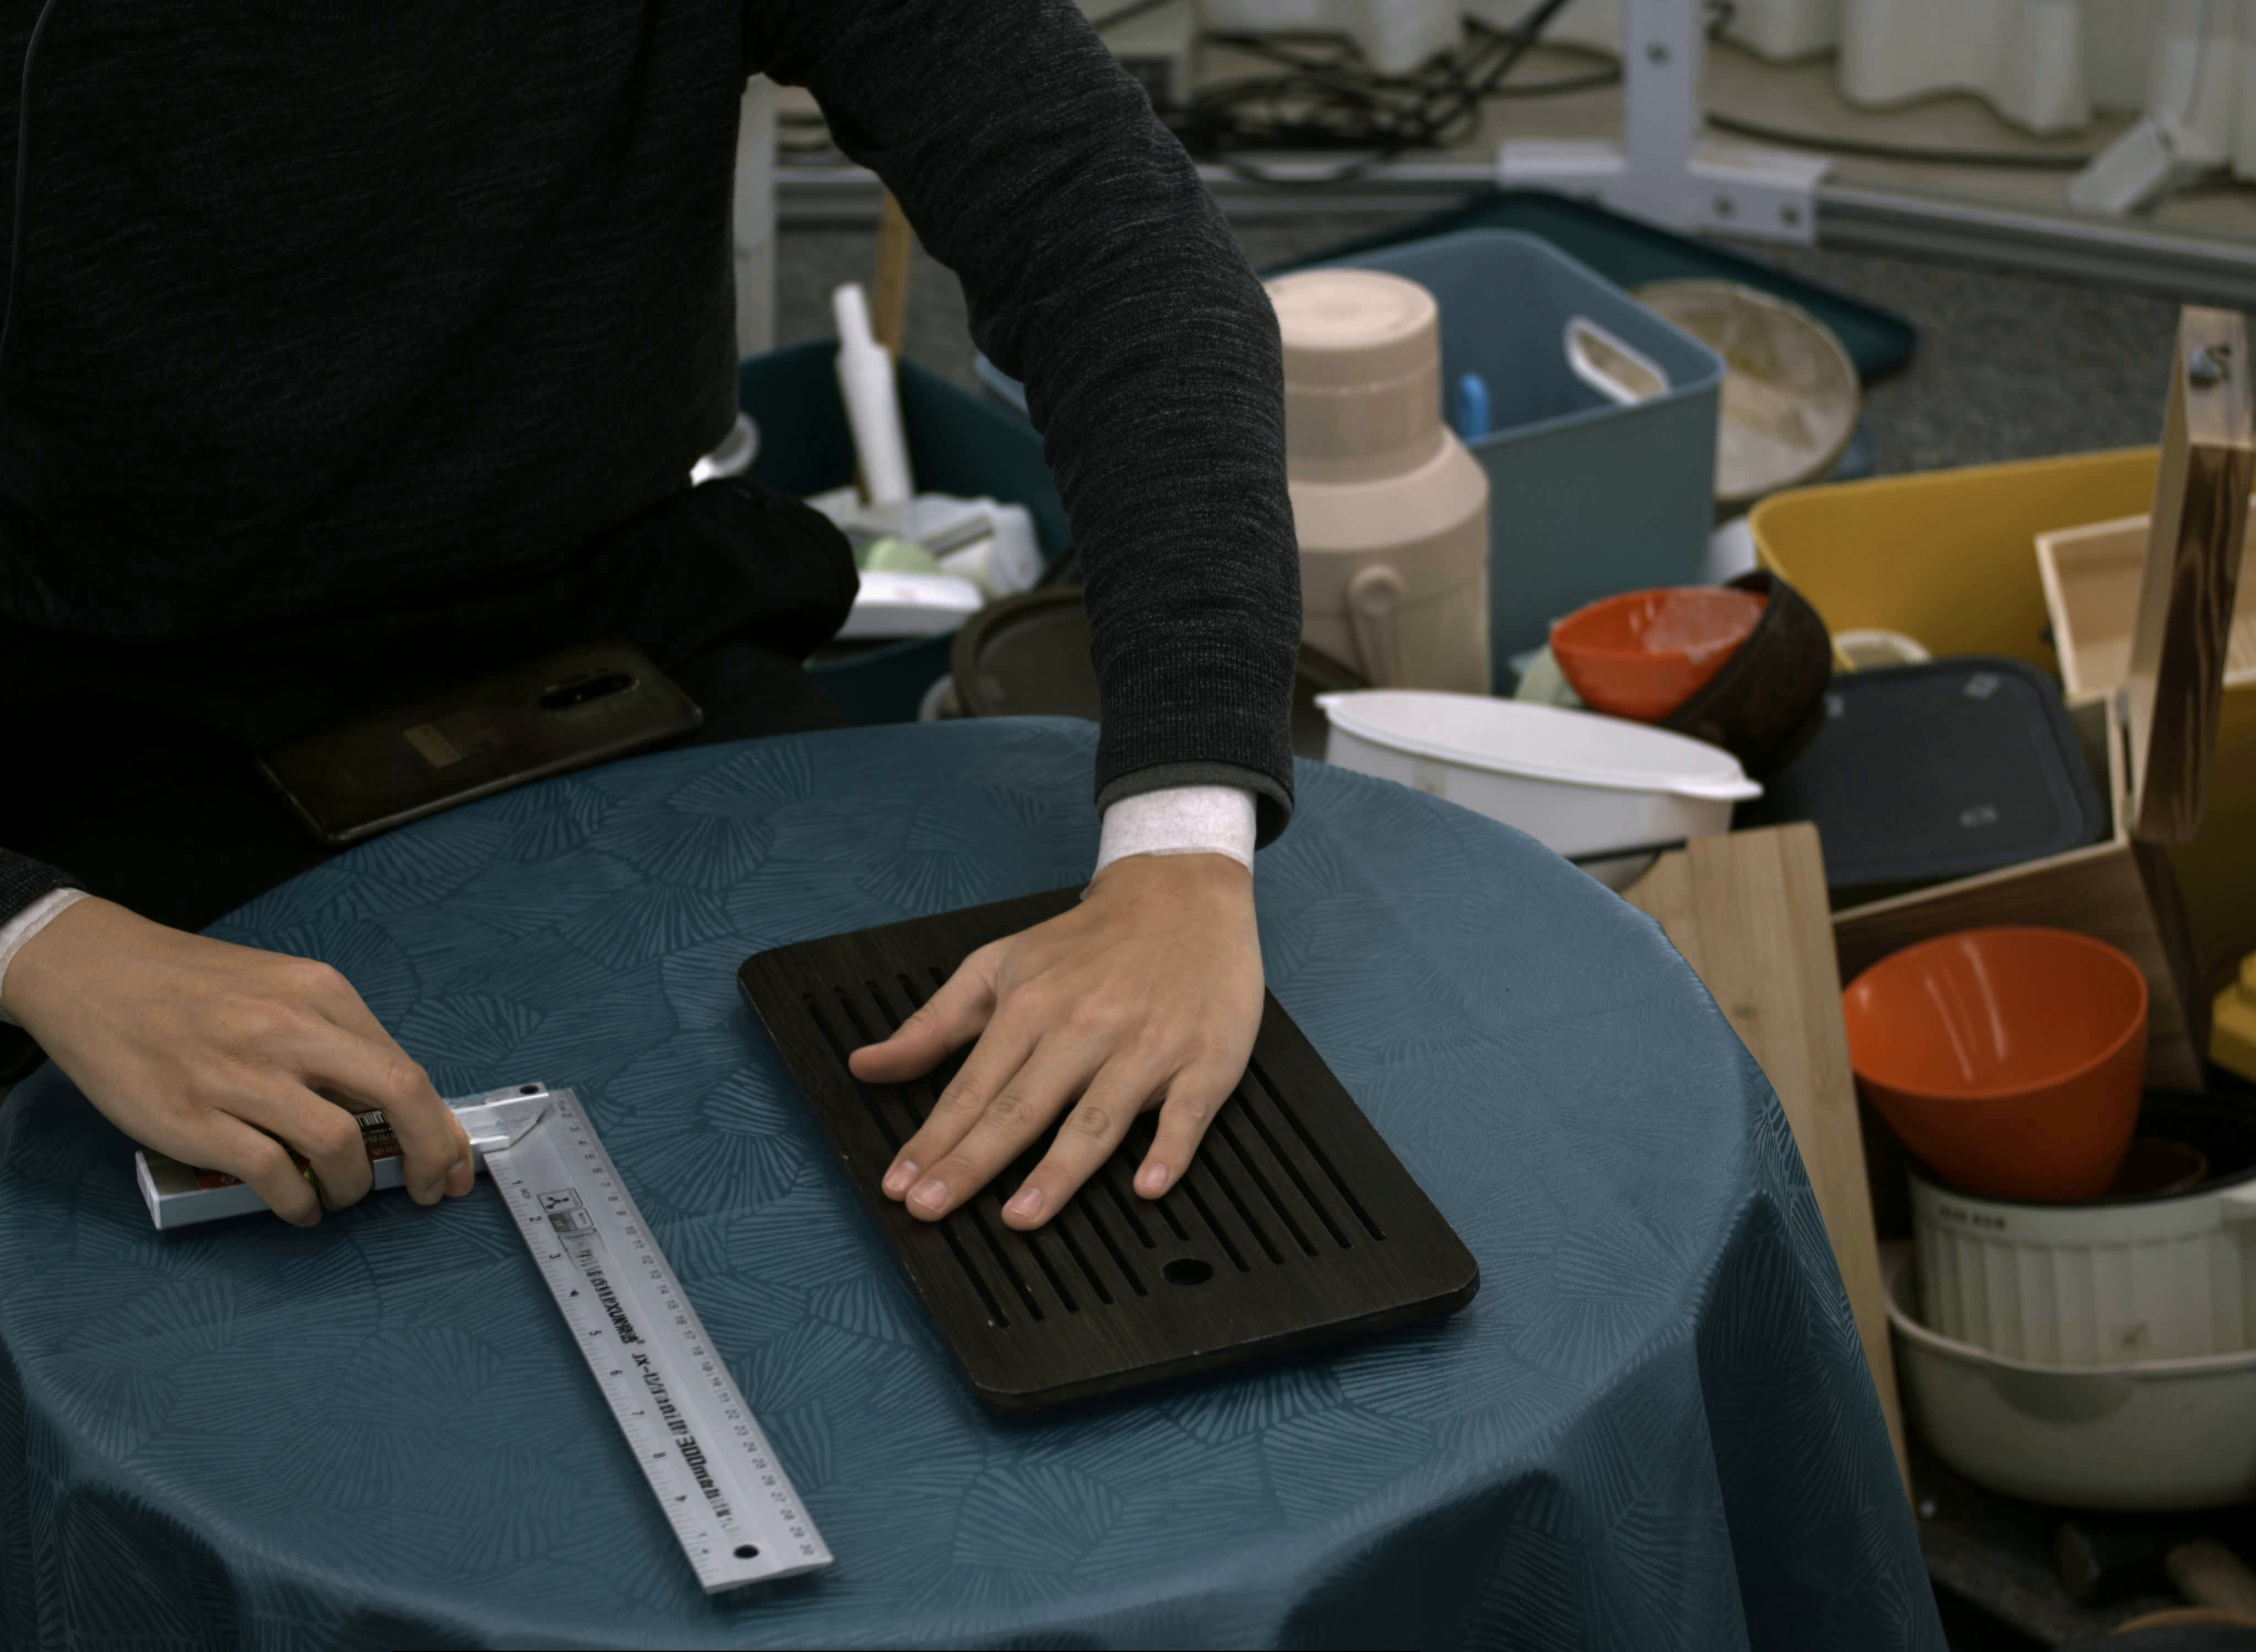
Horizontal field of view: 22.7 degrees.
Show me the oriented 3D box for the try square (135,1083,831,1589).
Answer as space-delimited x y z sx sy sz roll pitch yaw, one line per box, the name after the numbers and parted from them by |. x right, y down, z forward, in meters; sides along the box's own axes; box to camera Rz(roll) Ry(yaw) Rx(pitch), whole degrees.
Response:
-0.210 0.164 1.771 0.152 0.016 0.315 -7 26 -18 | try square

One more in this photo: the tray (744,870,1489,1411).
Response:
-0.010 0.102 1.881 0.170 0.018 0.308 -11 28 -15 | tray
